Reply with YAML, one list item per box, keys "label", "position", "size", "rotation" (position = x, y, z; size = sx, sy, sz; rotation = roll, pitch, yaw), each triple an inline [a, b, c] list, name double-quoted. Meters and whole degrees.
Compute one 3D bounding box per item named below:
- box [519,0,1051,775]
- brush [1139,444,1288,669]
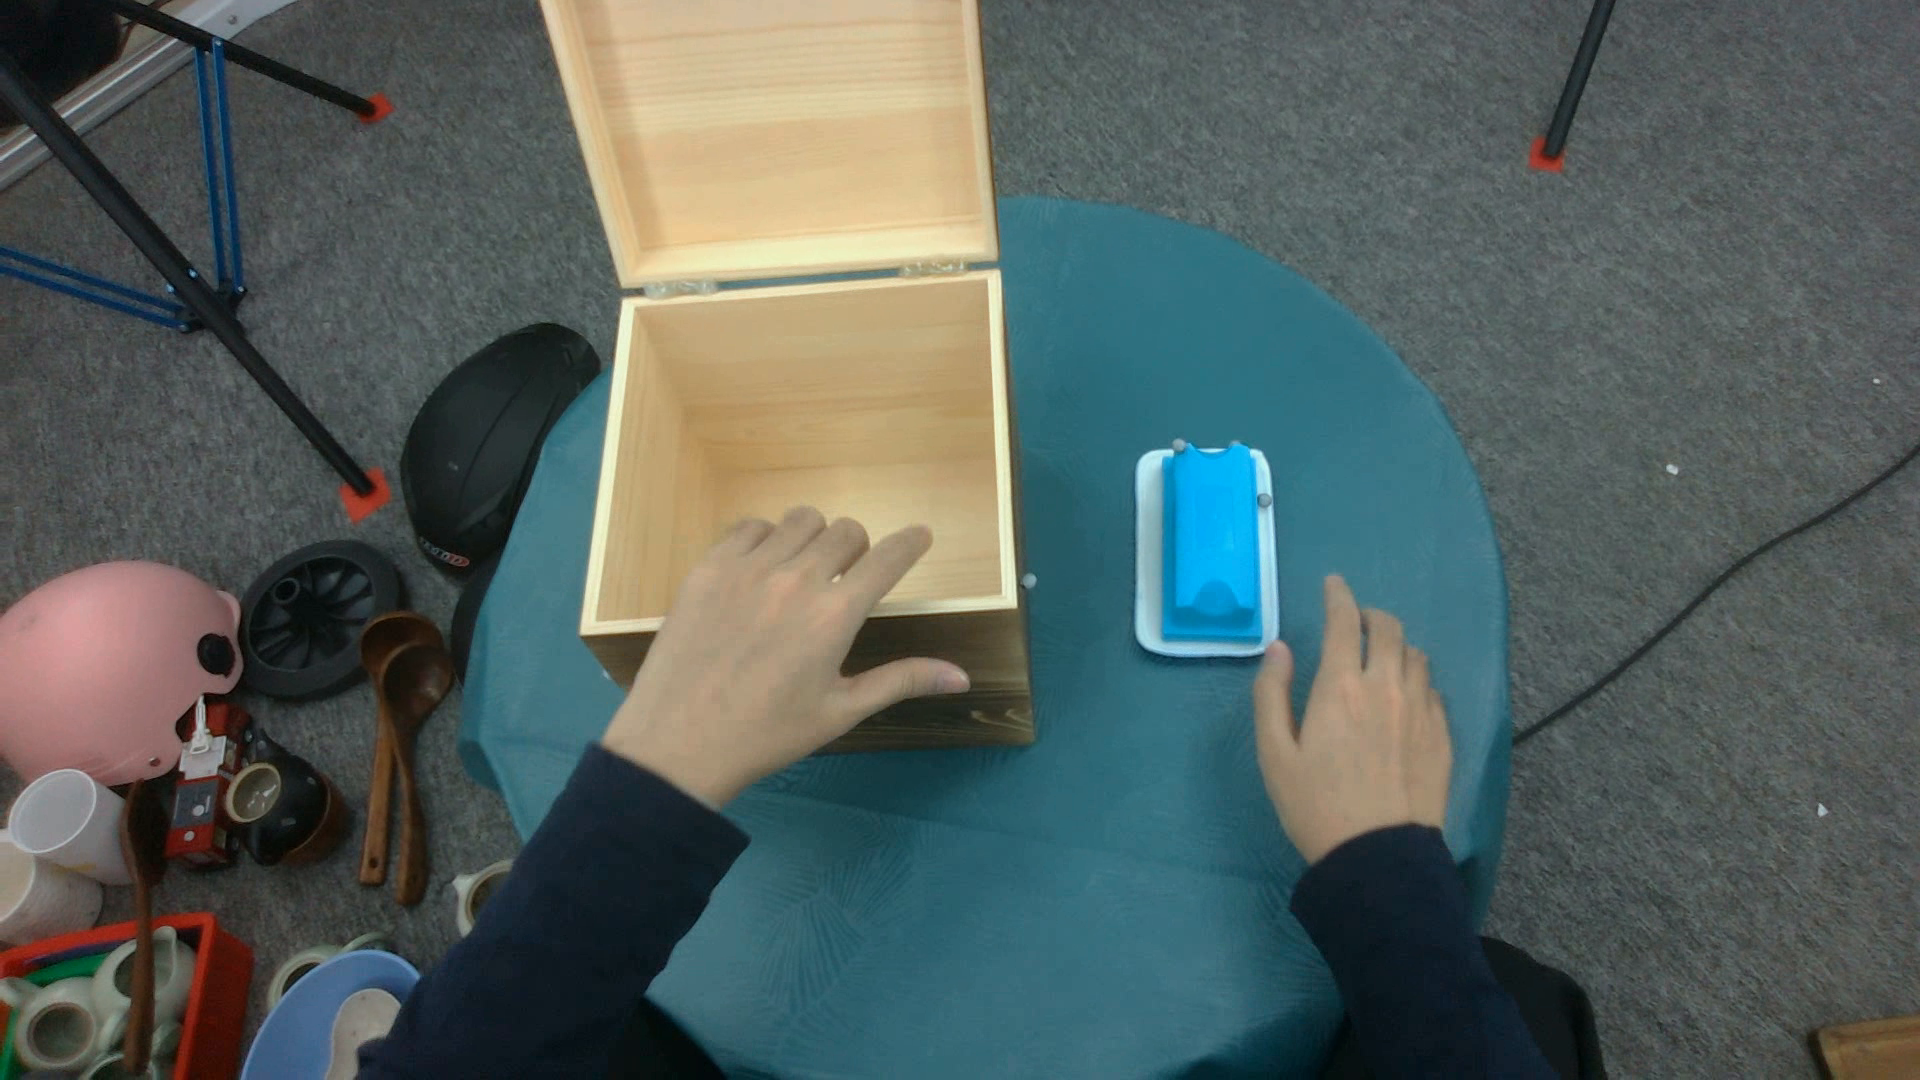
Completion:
- label: "box"
  position: [-0.081, -0.093, 0.702]
  size: [0.208, 0.374, 0.323]
  rotation: [-6, 59, 5]
- label: "brush"
  position: [0.145, 0.002, 0.791]
  size: [0.084, 0.056, 0.144]
  rotation: [0, 58, 11]
